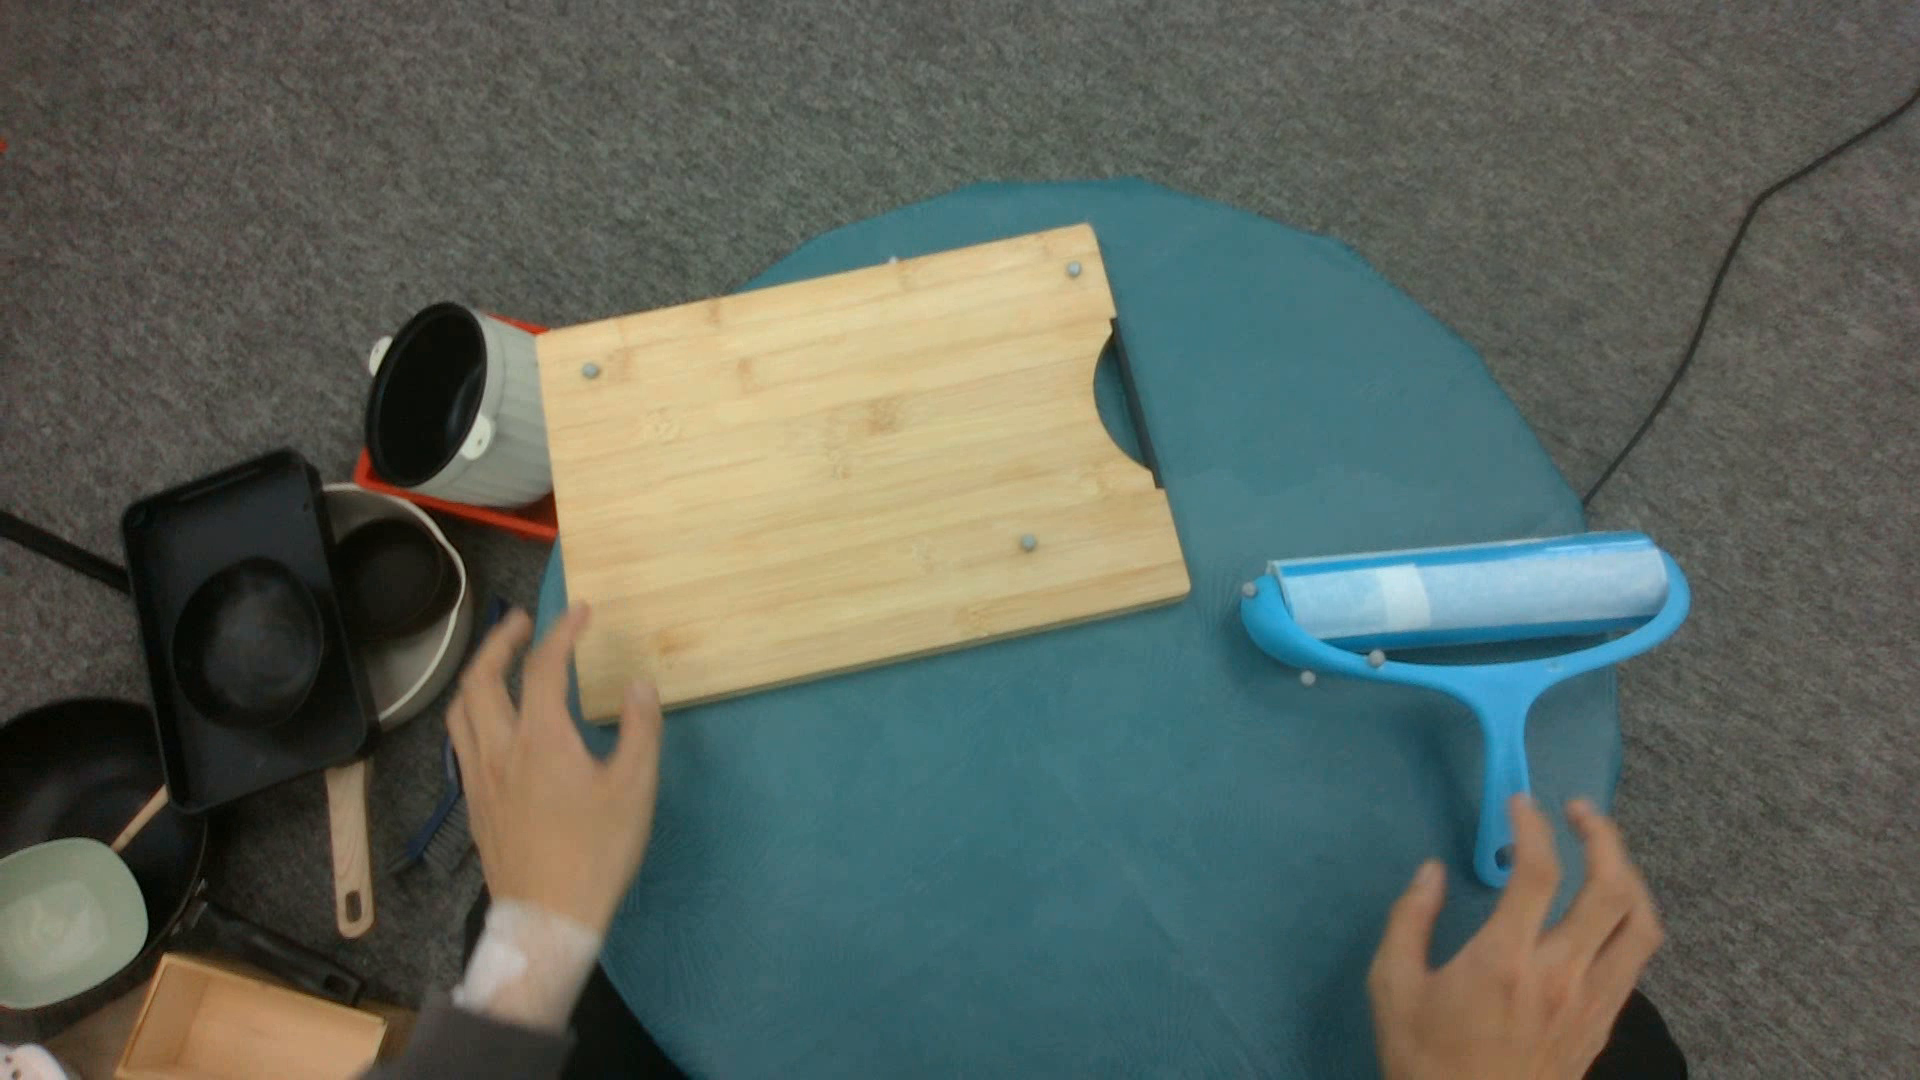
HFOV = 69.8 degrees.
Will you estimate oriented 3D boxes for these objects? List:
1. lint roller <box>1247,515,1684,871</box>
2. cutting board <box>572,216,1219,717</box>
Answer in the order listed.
[{"bbox_3d":[0.278,0.079,0.725,0.229,0.068,0.181,-8,71,-1],"label":"lint roller"},{"bbox_3d":[-0.048,-0.048,0.806,0.348,0.023,0.251,-13,73,-1],"label":"cutting board"}]
